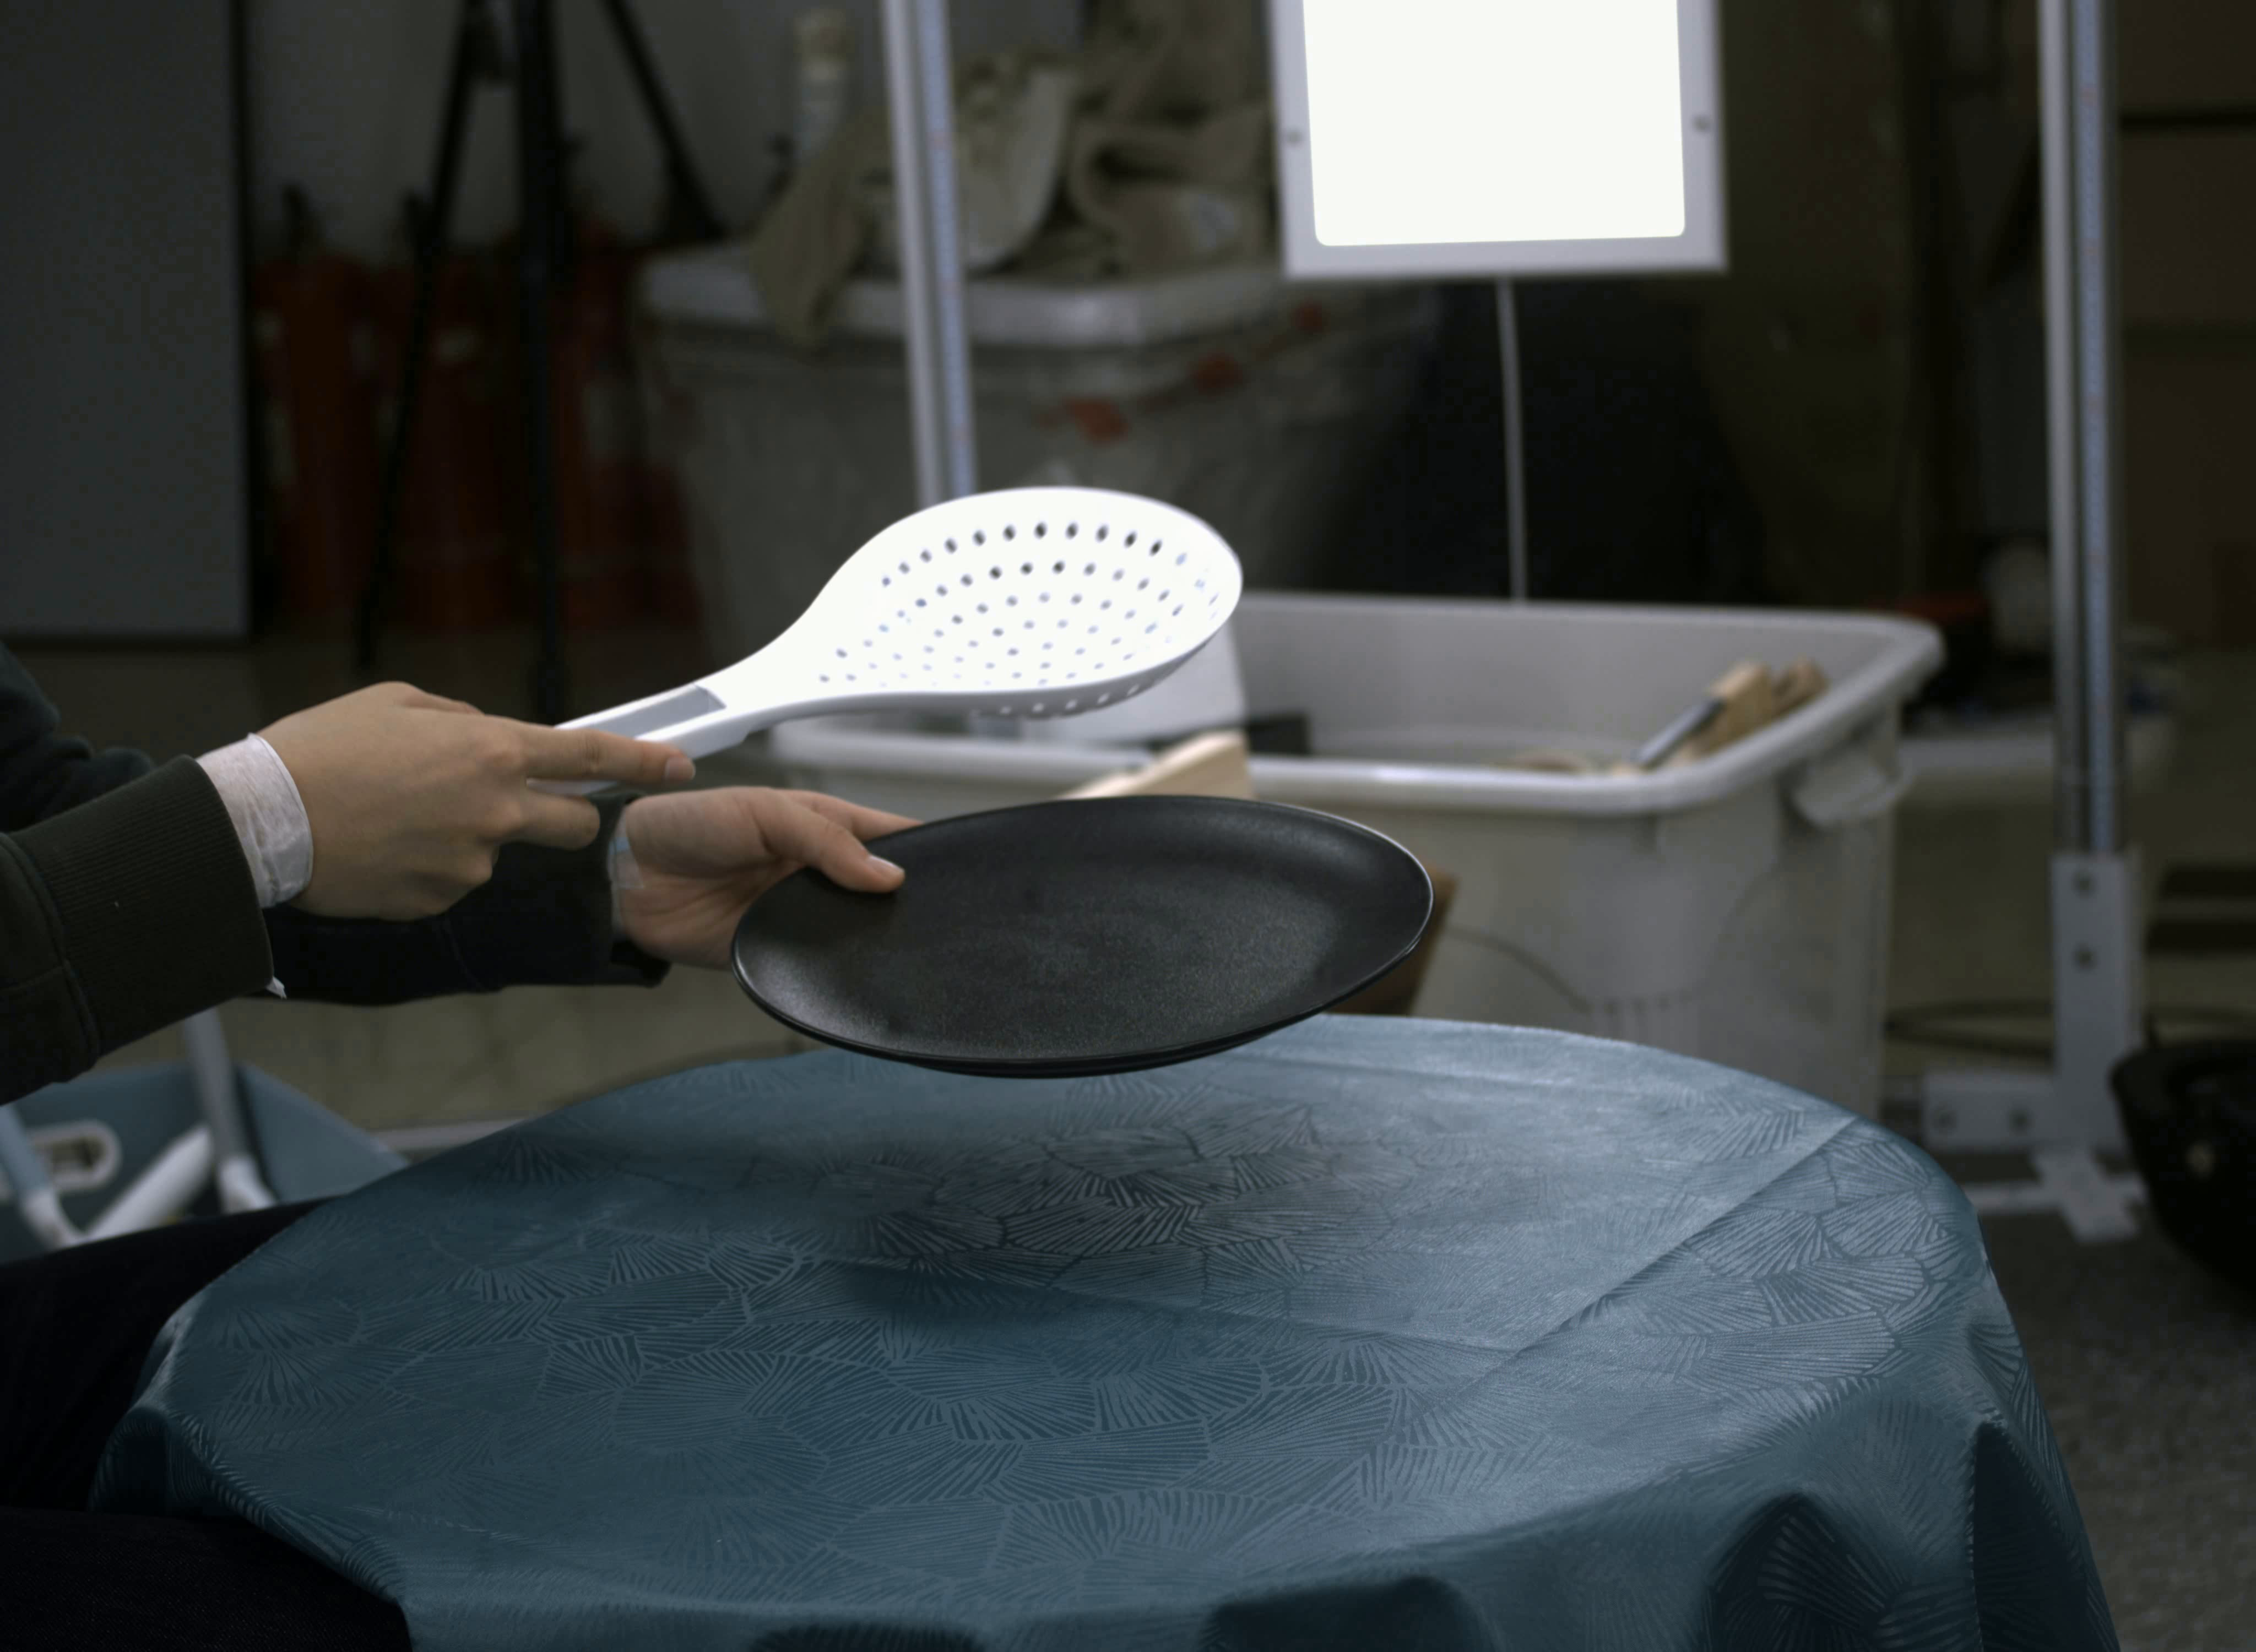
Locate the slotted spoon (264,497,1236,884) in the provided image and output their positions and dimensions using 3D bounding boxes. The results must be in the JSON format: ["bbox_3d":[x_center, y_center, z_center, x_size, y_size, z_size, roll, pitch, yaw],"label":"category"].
[{"bbox_3d":[-0.122,-0.042,1.818,0.342,0.046,0.138,-15,32,-27],"label":"slotted spoon"}]

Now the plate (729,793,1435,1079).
[{"bbox_3d":[-0.015,0.041,1.887,0.244,0.023,0.244,-6,20,1],"label":"plate"}]
